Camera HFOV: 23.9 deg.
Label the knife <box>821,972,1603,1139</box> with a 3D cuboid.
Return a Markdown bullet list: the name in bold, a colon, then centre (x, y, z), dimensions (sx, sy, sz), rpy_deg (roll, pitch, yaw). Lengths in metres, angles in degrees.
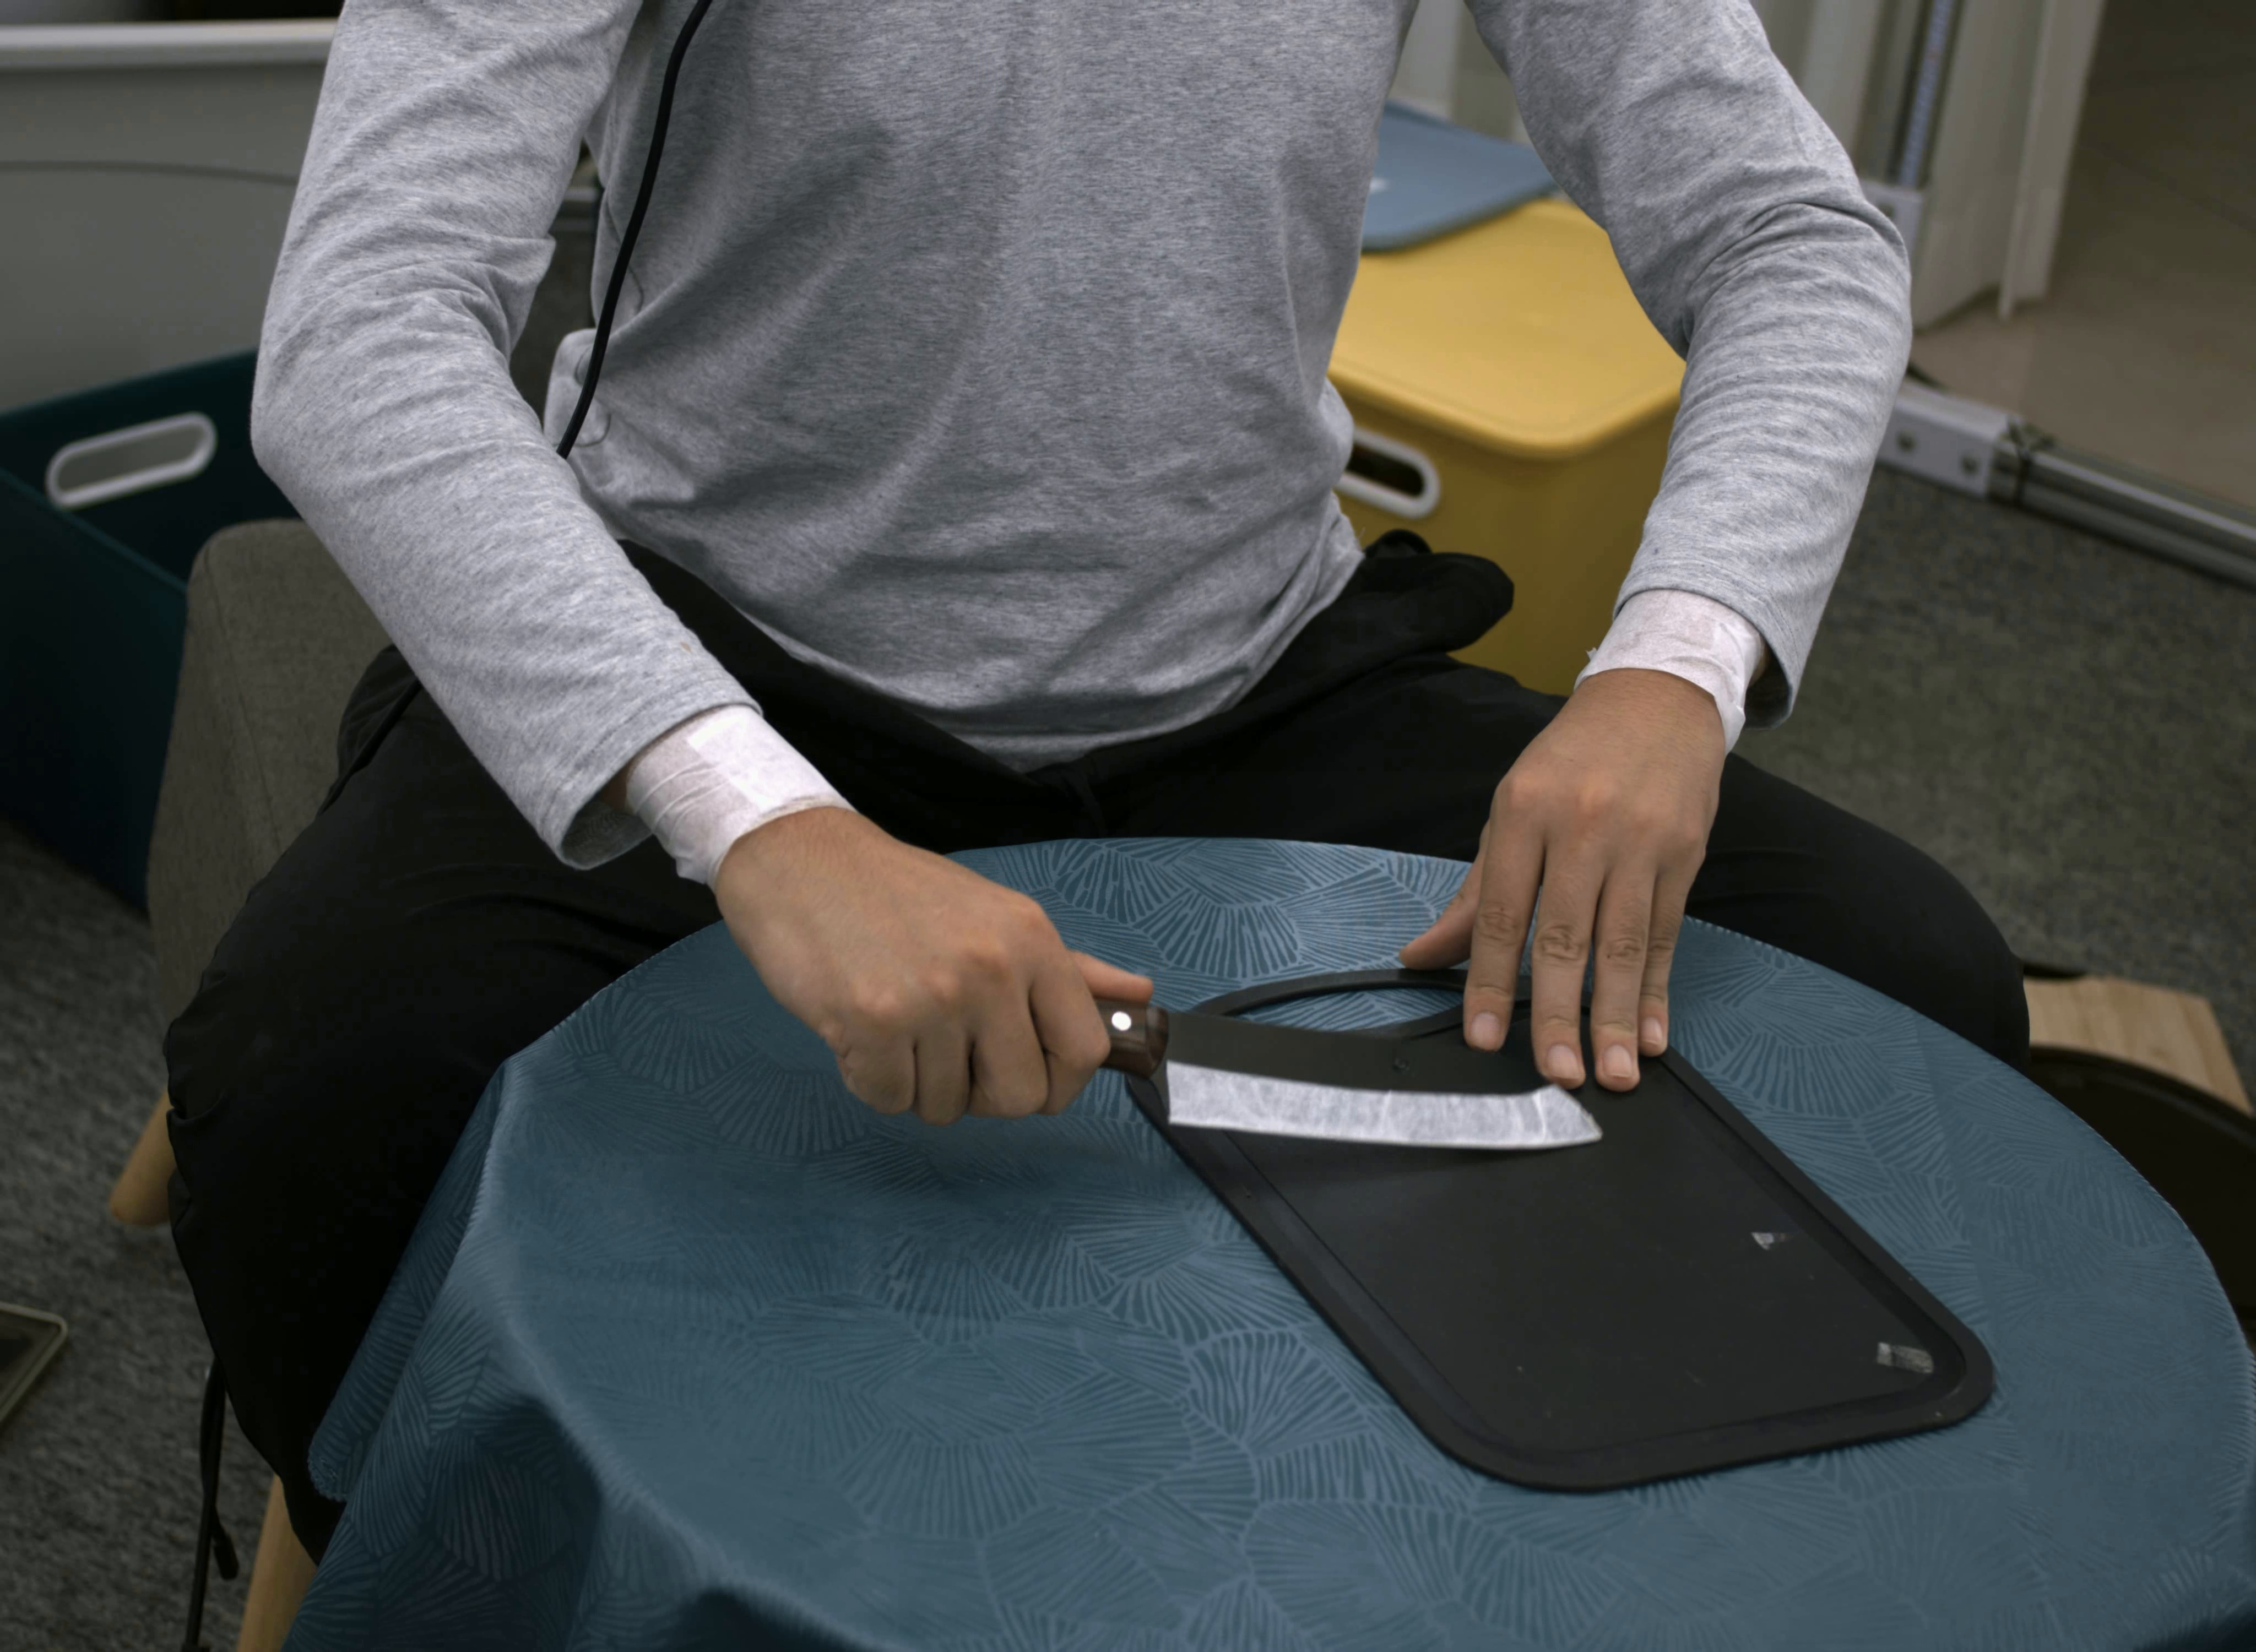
- **knife**: centre (0.033, 0.080, 1.821), dimensions (0.287, 0.020, 0.050), rpy_deg (9, 56, -19)

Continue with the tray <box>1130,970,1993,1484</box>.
- **tray**: centre (0.139, 0.127, 1.823), dimensions (0.210, 0.010, 0.328), rpy_deg (-6, 29, -24)
